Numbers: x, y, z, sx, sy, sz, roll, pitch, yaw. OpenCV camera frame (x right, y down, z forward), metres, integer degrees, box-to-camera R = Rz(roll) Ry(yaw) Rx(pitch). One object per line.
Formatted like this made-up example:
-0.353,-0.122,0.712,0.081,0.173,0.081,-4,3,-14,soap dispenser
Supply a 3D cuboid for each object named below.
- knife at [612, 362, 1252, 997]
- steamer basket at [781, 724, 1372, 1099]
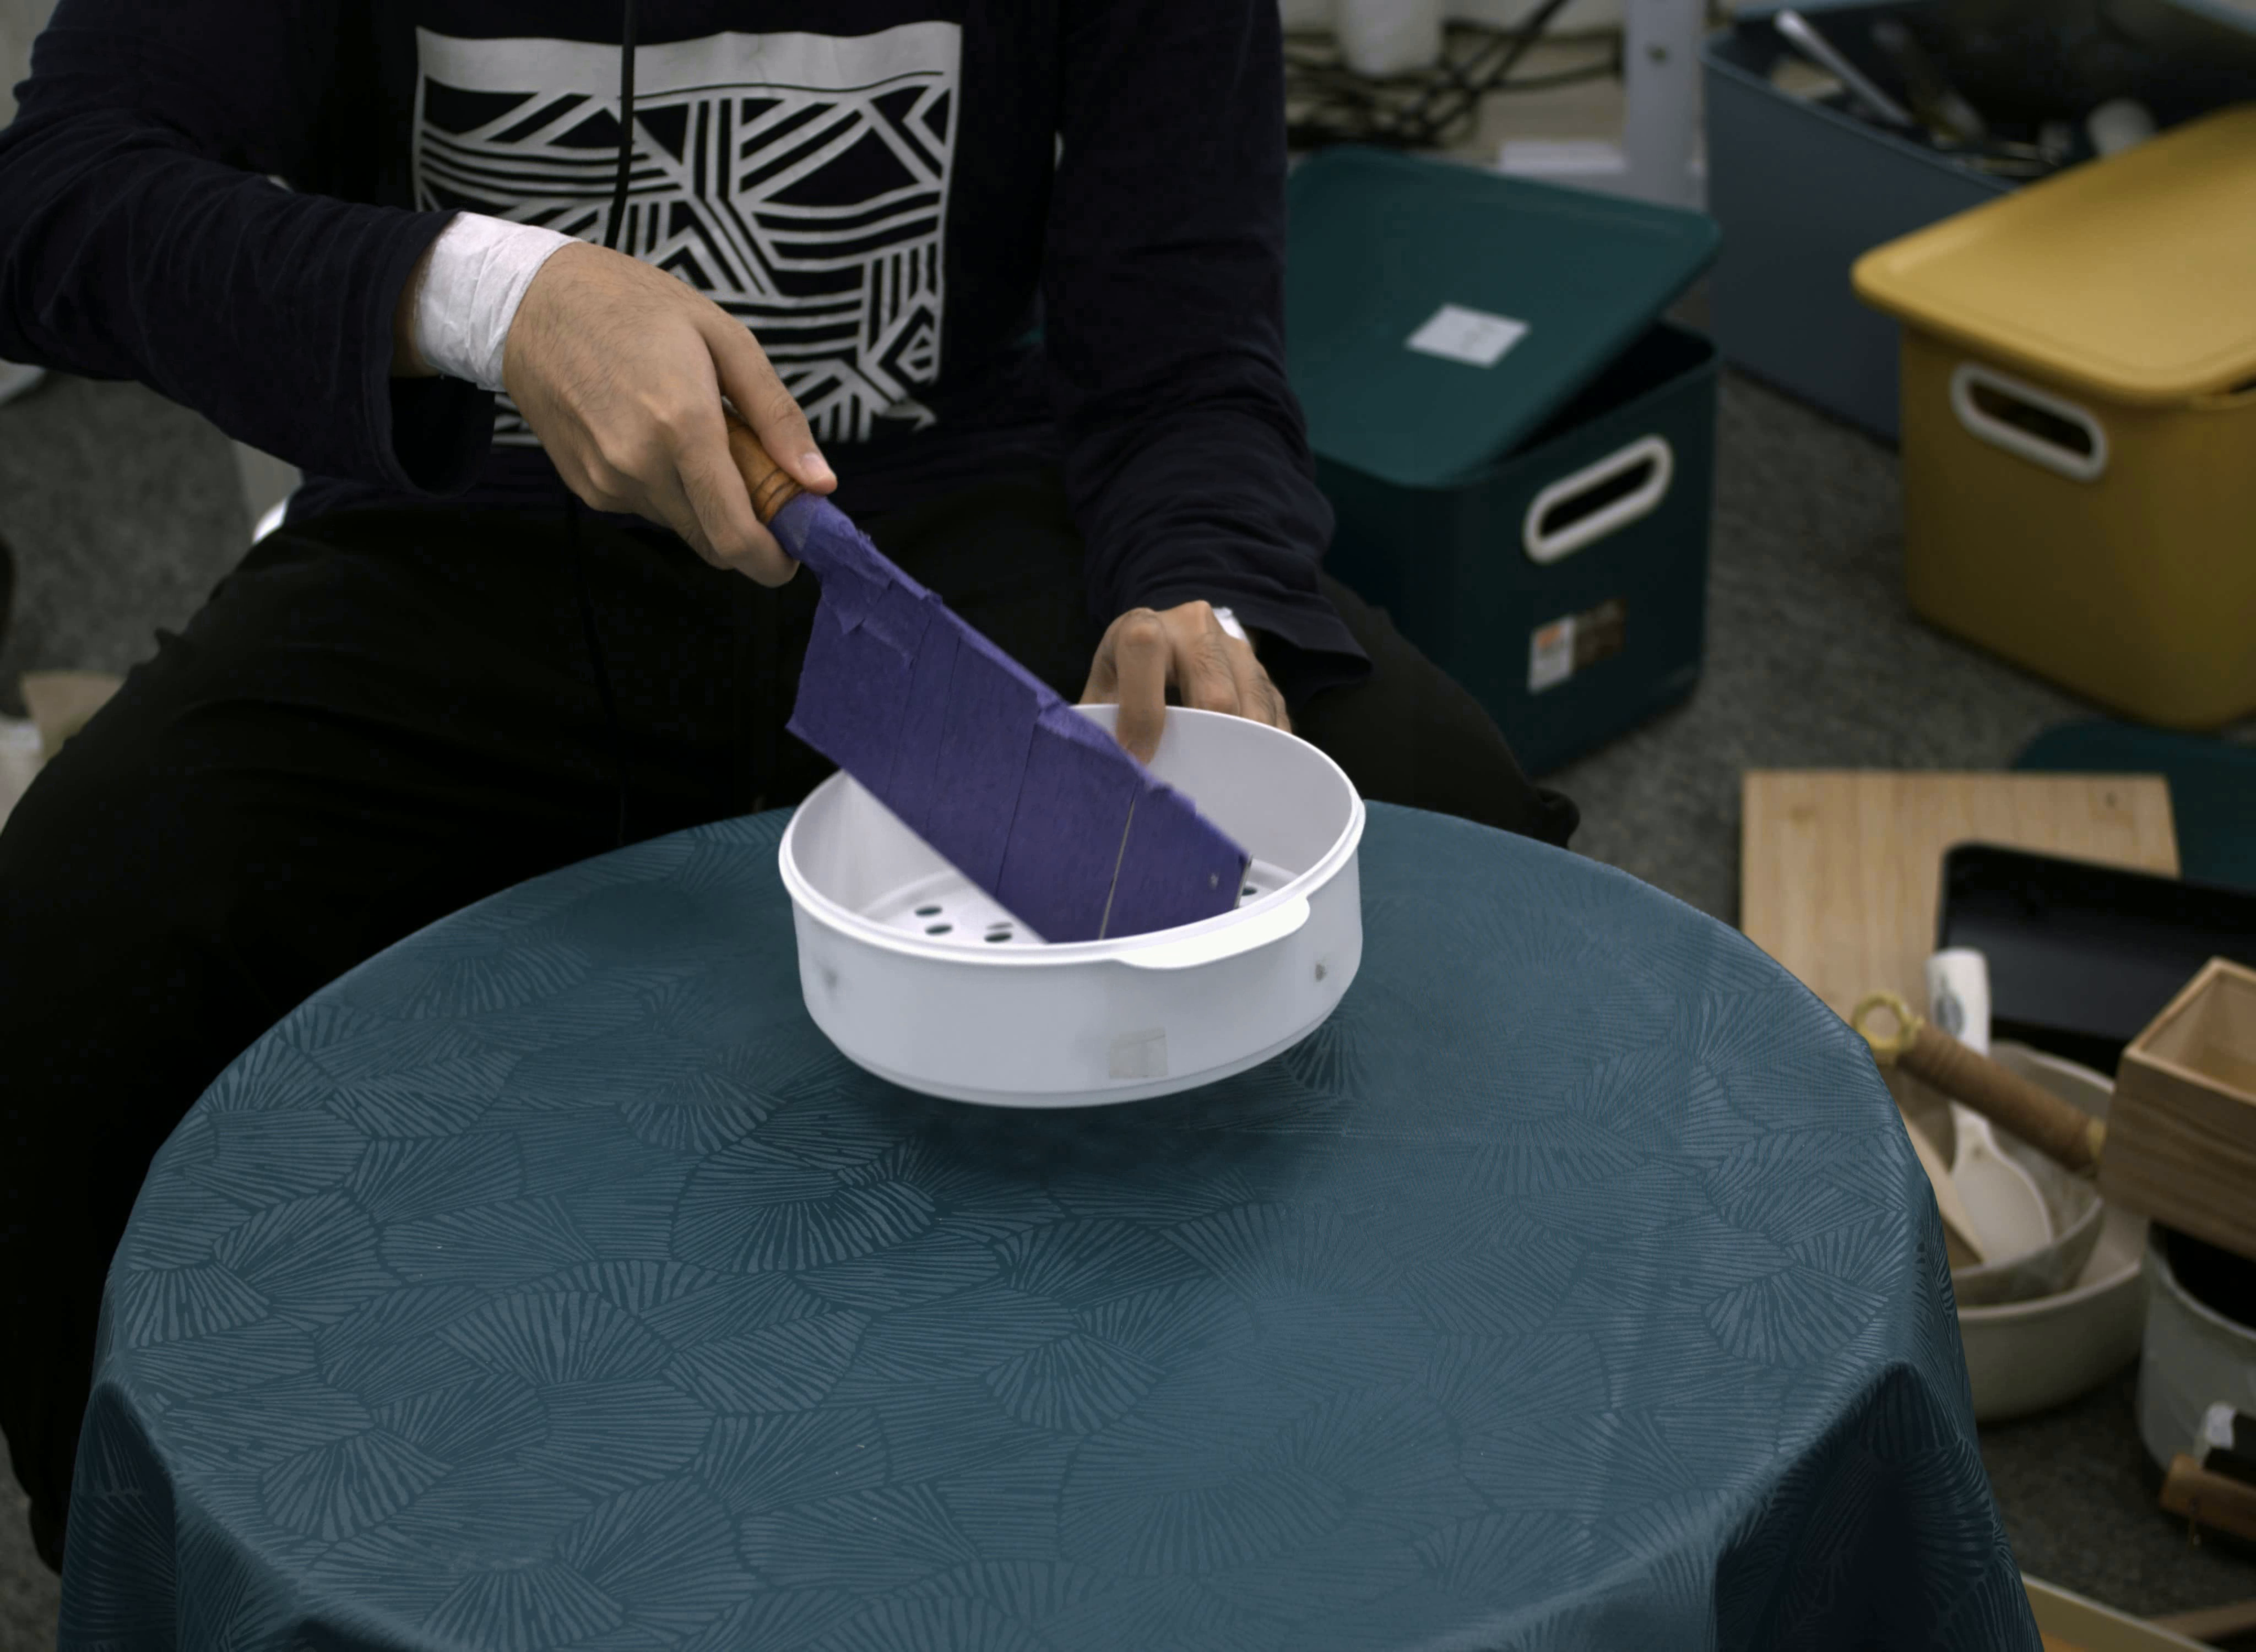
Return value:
-0.074,-0.044,1.915,0.032,0.102,0.316,-18,45,-40,knife
-0.016,0.029,1.914,0.203,0.069,0.231,-14,23,-27,steamer basket
